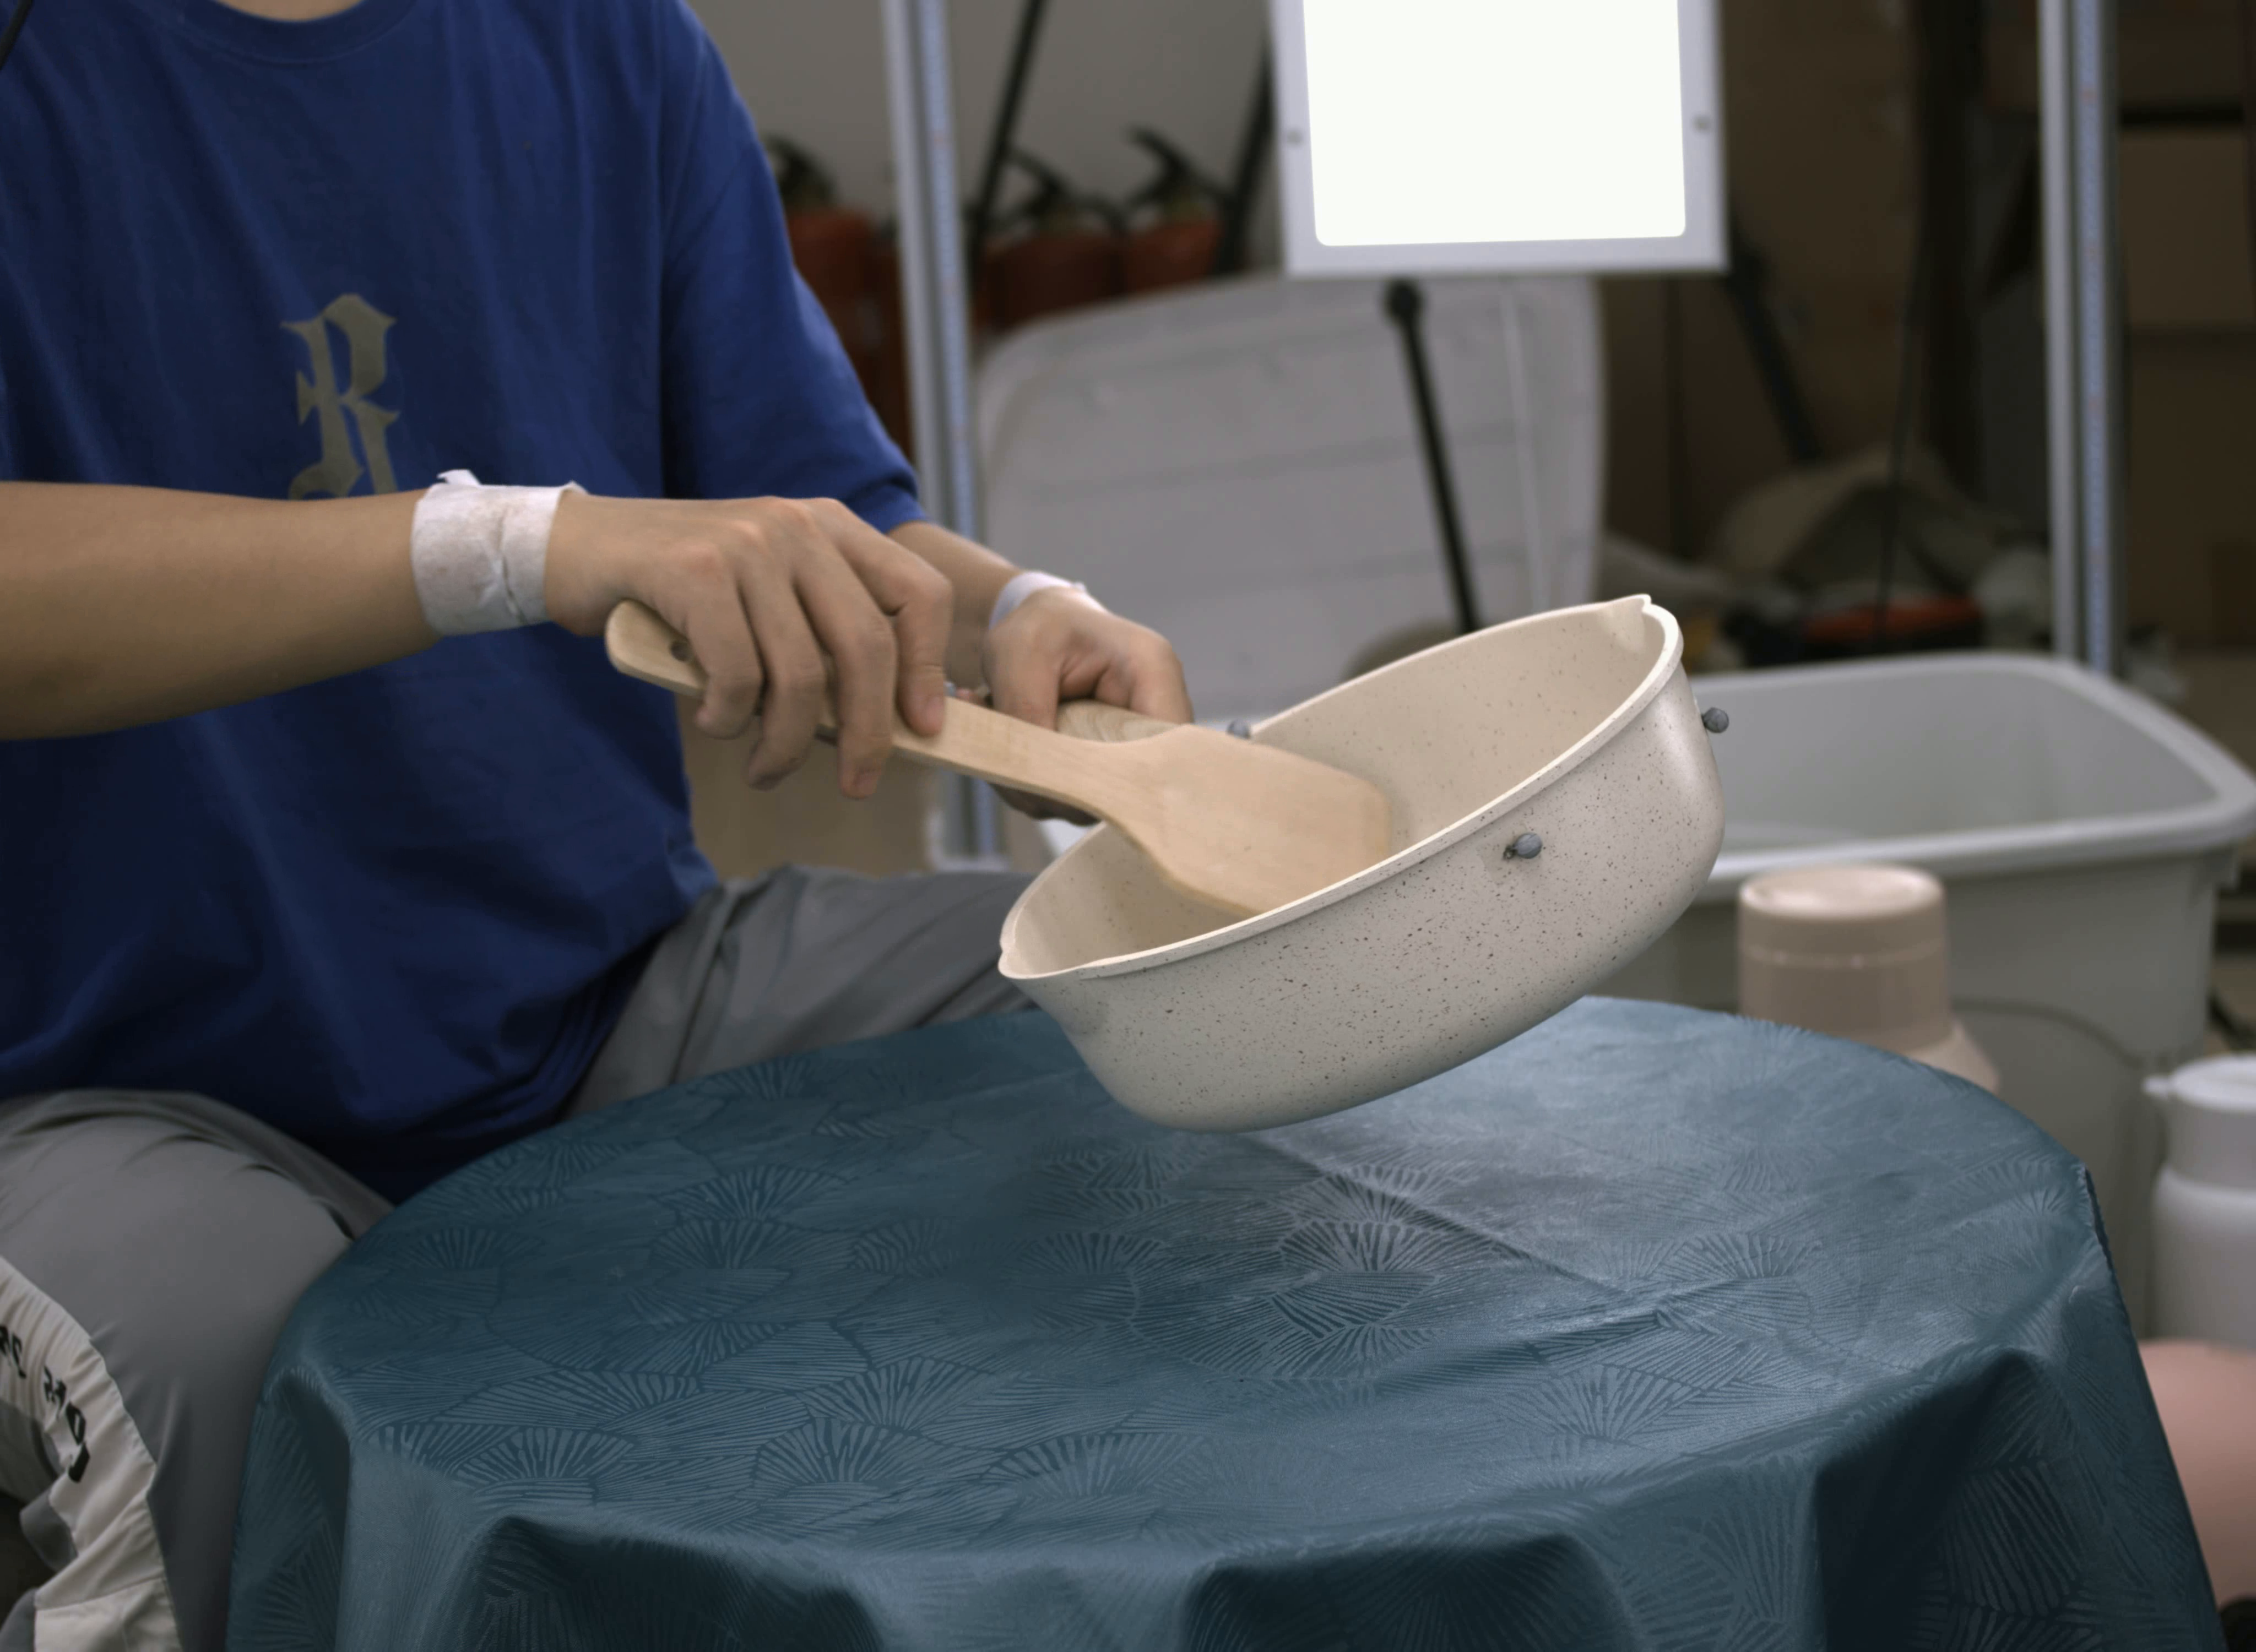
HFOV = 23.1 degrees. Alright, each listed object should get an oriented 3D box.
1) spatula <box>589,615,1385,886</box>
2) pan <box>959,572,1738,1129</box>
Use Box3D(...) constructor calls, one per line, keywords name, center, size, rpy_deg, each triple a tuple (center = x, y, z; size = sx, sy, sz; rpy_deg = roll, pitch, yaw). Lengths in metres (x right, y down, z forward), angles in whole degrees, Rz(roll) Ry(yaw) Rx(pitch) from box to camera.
Box3D(name="spatula", center=(-0.044, -0.031, 1.877), size=(0.289, 0.072, 0.011), rpy_deg=(12, -32, -16))
Box3D(name="pan", center=(0.052, 0.006, 1.927), size=(0.260, 0.102, 0.442), rpy_deg=(-34, 14, -18))
